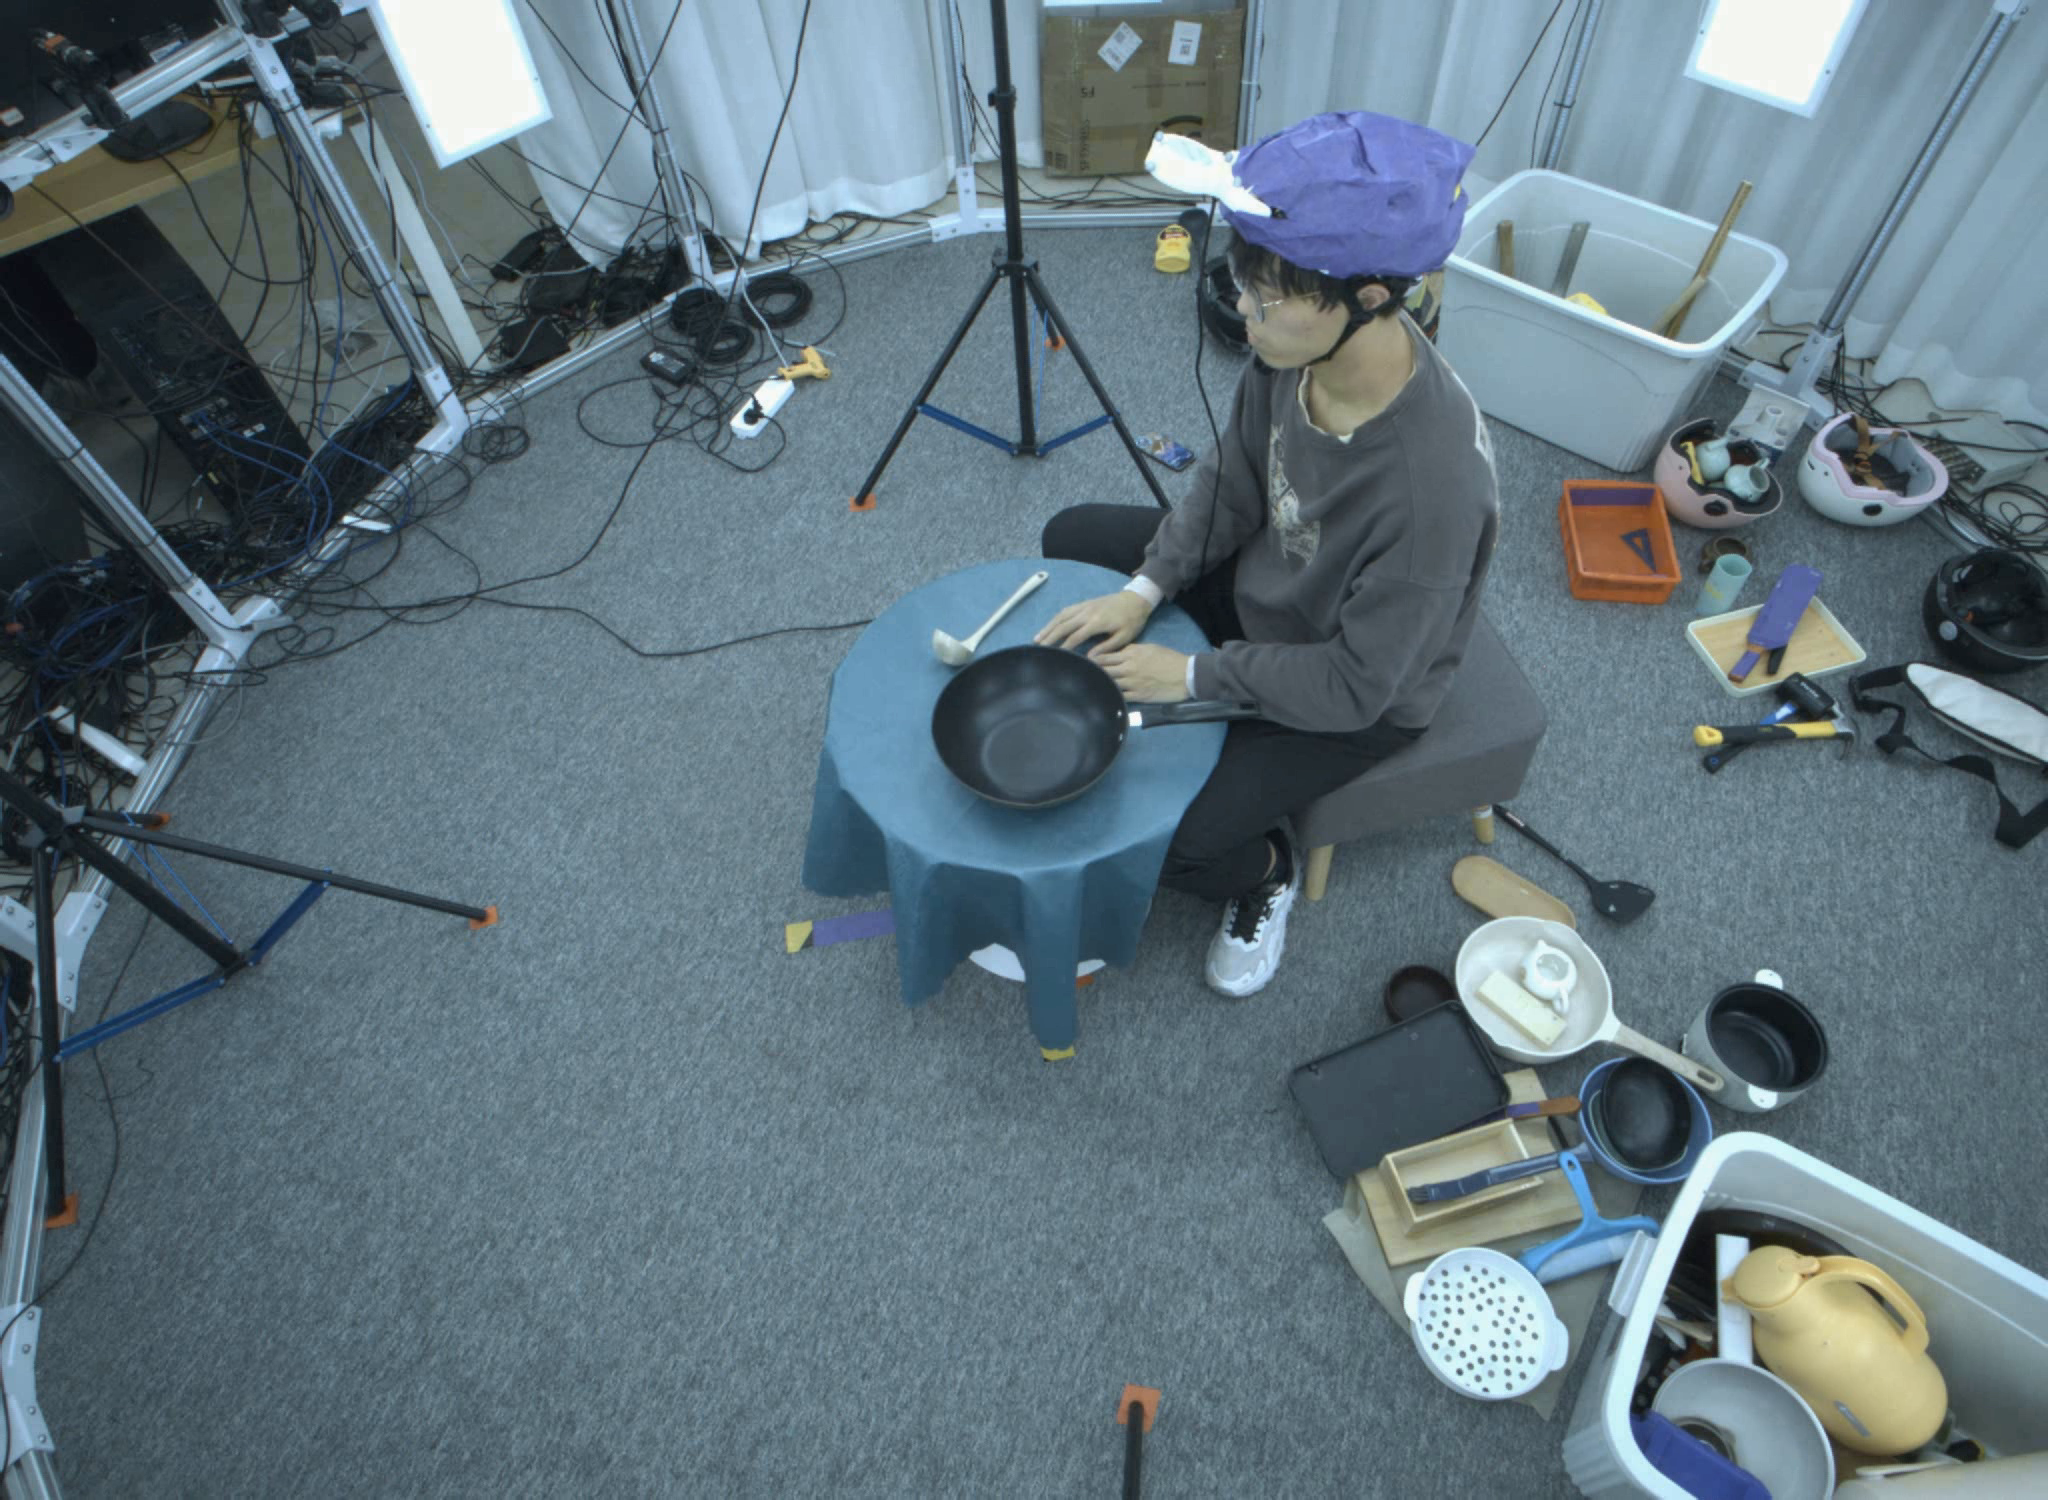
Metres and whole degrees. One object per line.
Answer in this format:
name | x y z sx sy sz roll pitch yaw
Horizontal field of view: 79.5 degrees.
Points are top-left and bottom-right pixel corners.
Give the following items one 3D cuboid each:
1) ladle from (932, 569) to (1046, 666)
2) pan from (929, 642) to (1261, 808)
ladle | -0.047 -0.228 1.905 0.071 0.074 0.255 28 61 24
pan | 0.100 -0.026 1.749 0.464 0.088 0.285 -2 54 -1
